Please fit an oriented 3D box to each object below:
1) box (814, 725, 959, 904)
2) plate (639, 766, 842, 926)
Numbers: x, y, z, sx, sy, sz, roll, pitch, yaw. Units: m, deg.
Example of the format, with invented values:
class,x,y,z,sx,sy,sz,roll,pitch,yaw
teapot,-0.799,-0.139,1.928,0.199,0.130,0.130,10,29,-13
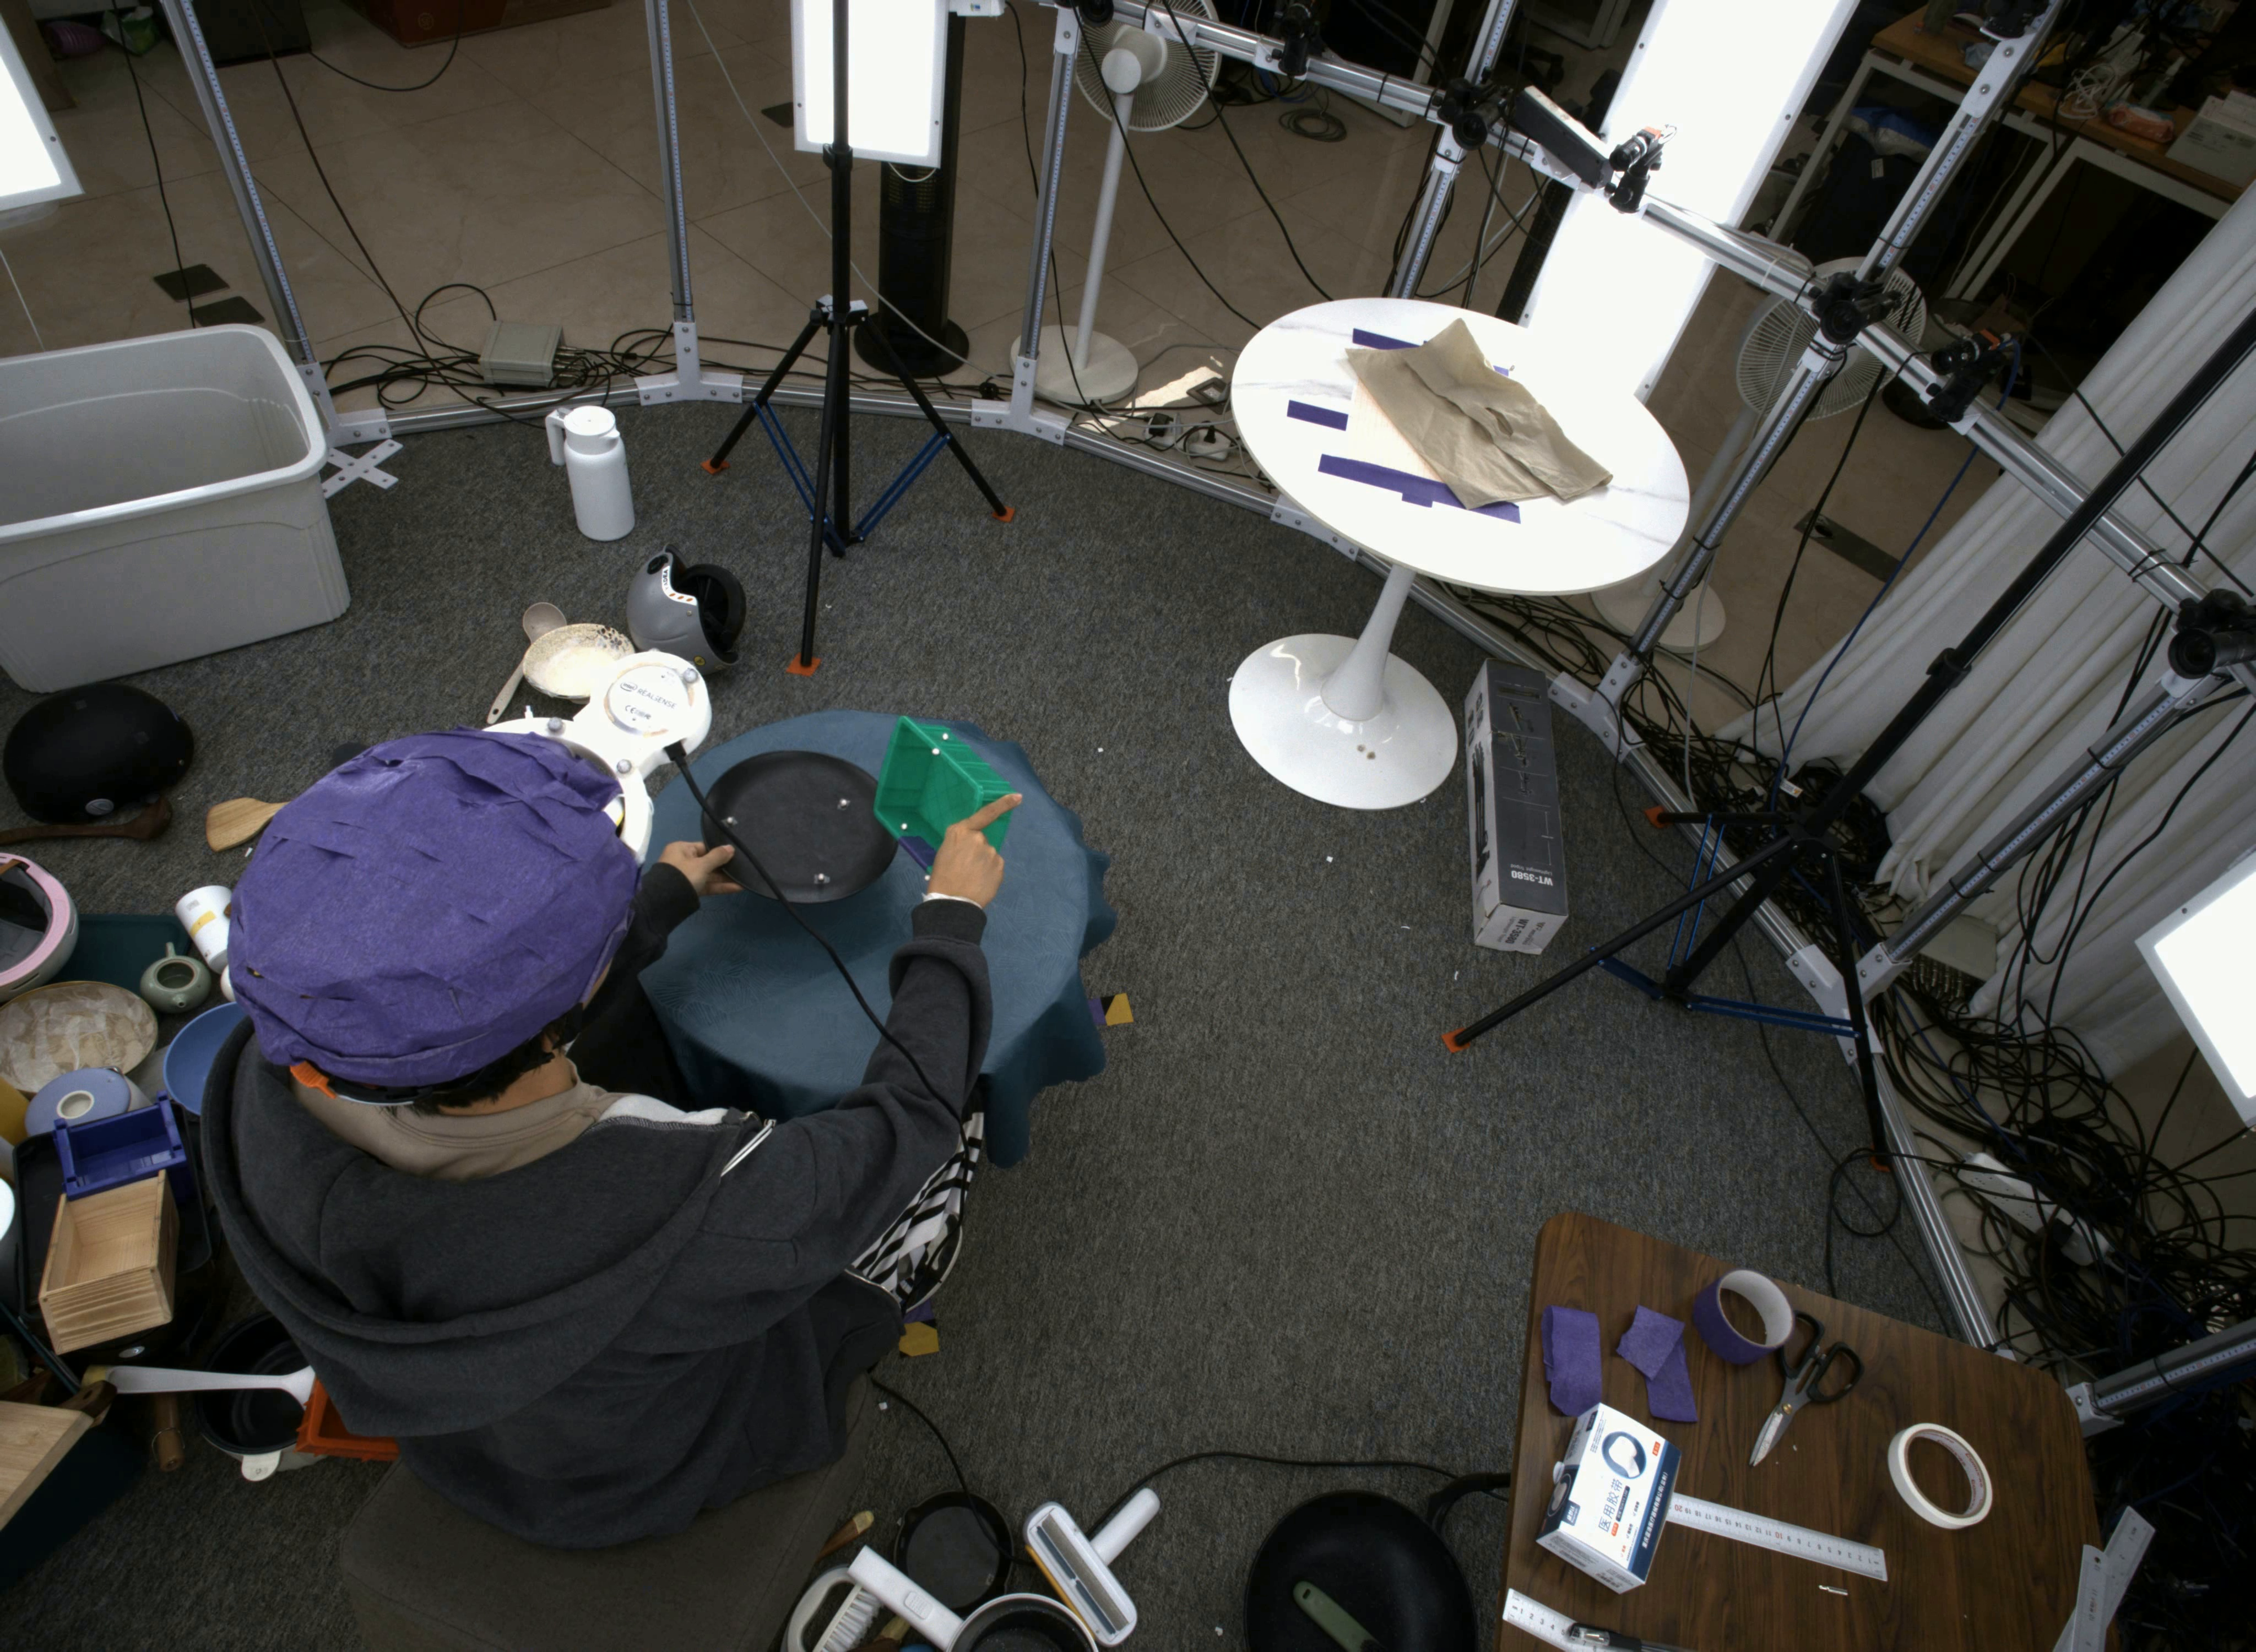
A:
class,x,y,z,sx,sy,sz,roll,pitch,yaw
box,-0.278,-0.018,1.494,0.066,0.141,0.202,-7,31,-44
plate,-0.472,0.024,1.578,0.245,0.024,0.240,12,49,-13
